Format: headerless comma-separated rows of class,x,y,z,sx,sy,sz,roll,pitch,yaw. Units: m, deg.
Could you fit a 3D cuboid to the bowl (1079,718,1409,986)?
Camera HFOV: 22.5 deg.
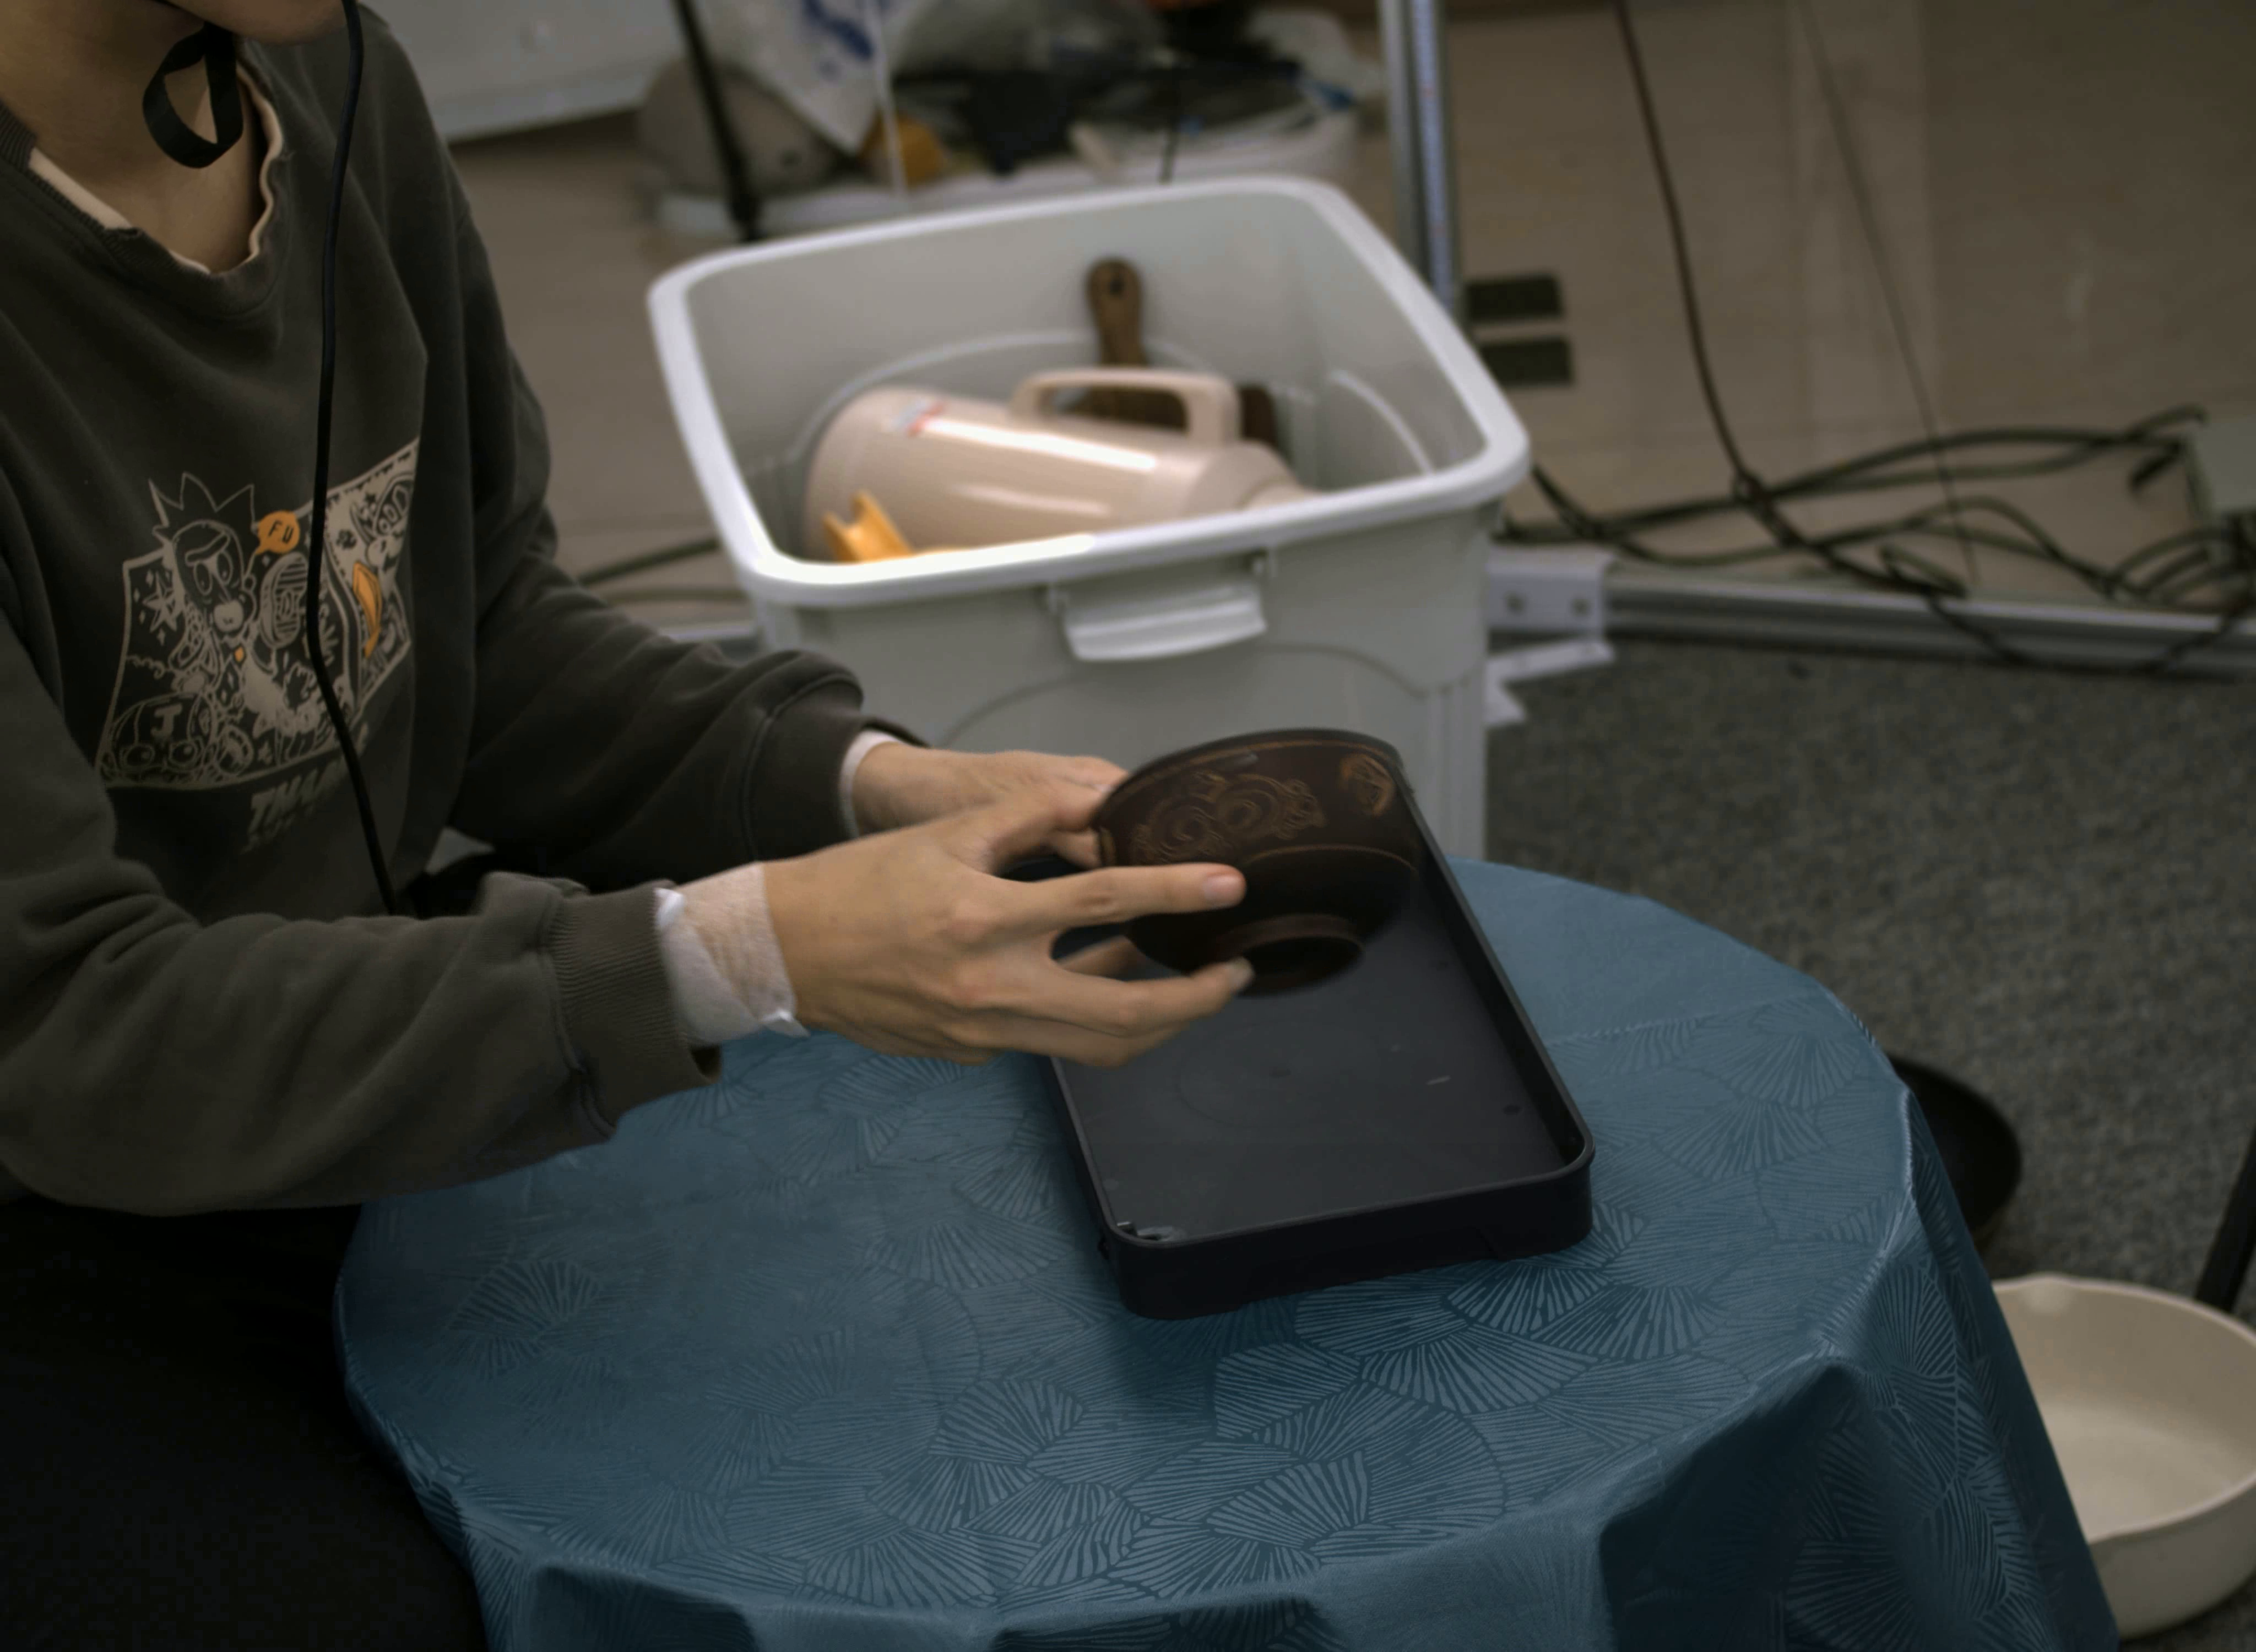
bowl,0.045,0.015,2.032,0.118,0.119,0.069,-11,70,-4

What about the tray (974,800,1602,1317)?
tray,0.057,0.082,2.195,0.184,0.037,0.313,-12,29,-8
